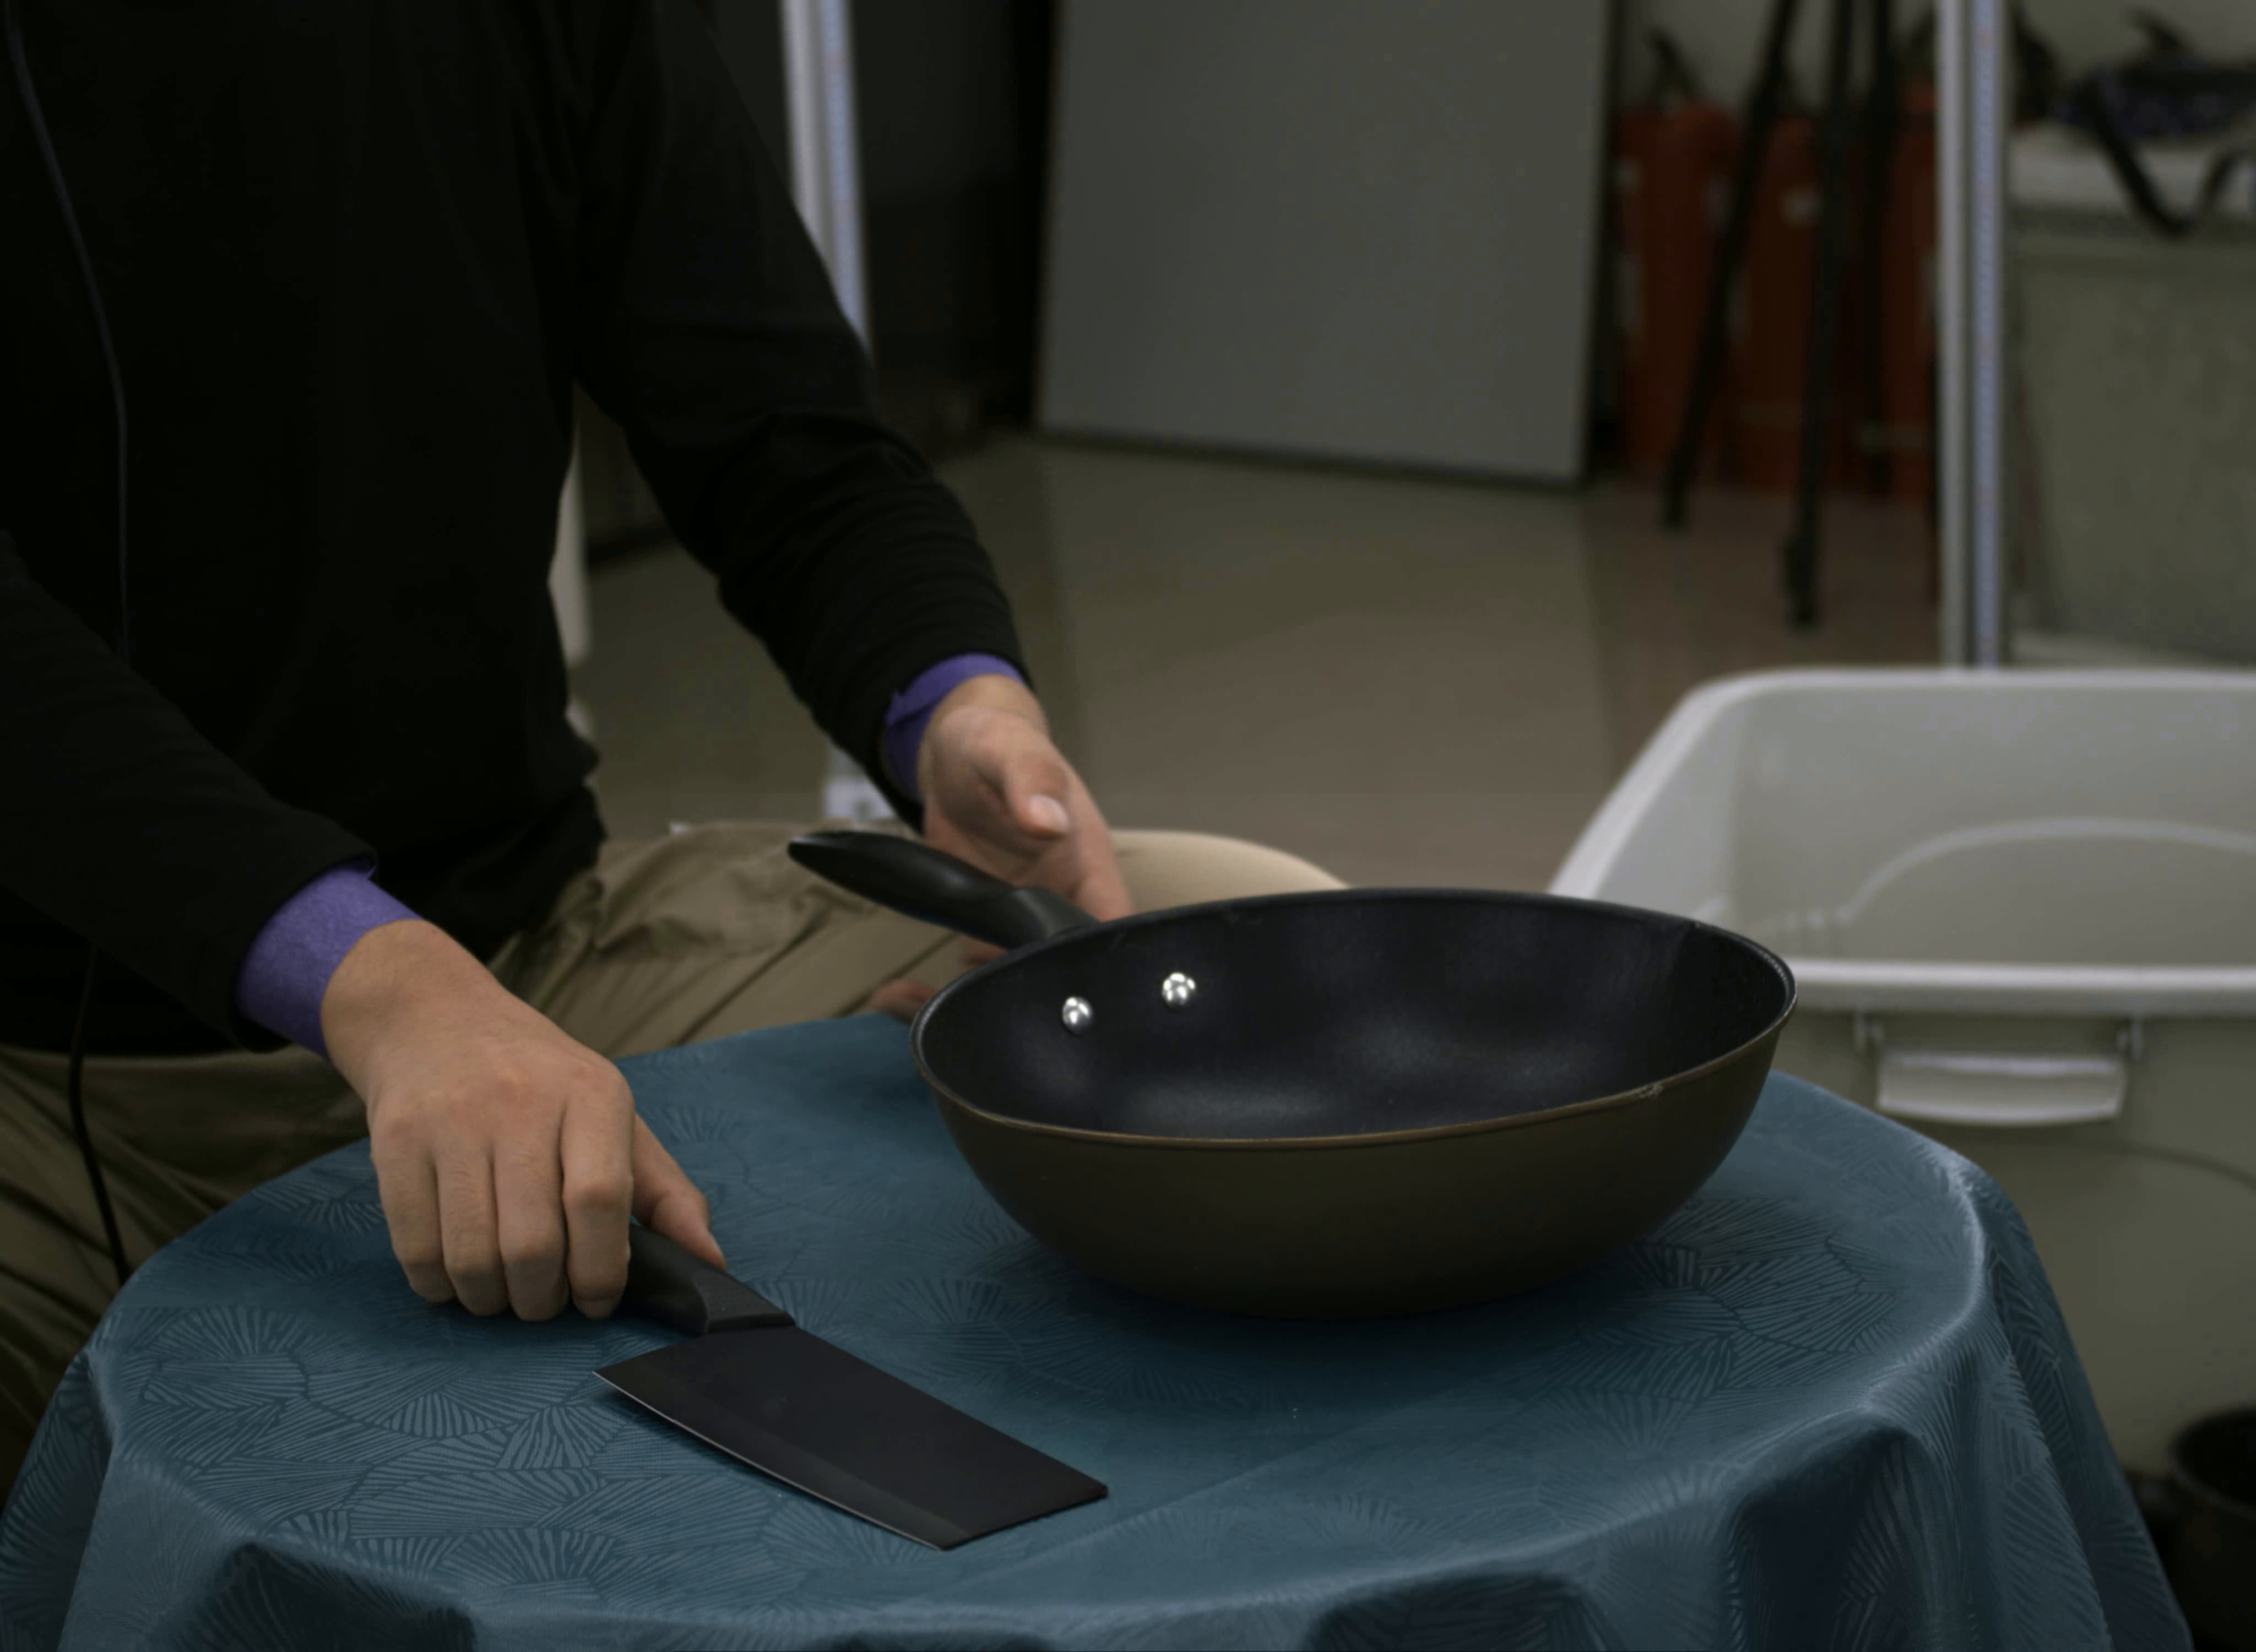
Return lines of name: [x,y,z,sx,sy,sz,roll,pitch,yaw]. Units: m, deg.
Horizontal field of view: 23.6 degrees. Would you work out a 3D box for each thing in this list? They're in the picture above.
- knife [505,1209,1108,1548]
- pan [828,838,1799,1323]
knife: [-0.111,0.163,1.612,0.079,0.021,0.305,-12,18,-28]
pan: [0.022,0.078,1.768,0.282,0.088,0.468,-13,16,-31]
